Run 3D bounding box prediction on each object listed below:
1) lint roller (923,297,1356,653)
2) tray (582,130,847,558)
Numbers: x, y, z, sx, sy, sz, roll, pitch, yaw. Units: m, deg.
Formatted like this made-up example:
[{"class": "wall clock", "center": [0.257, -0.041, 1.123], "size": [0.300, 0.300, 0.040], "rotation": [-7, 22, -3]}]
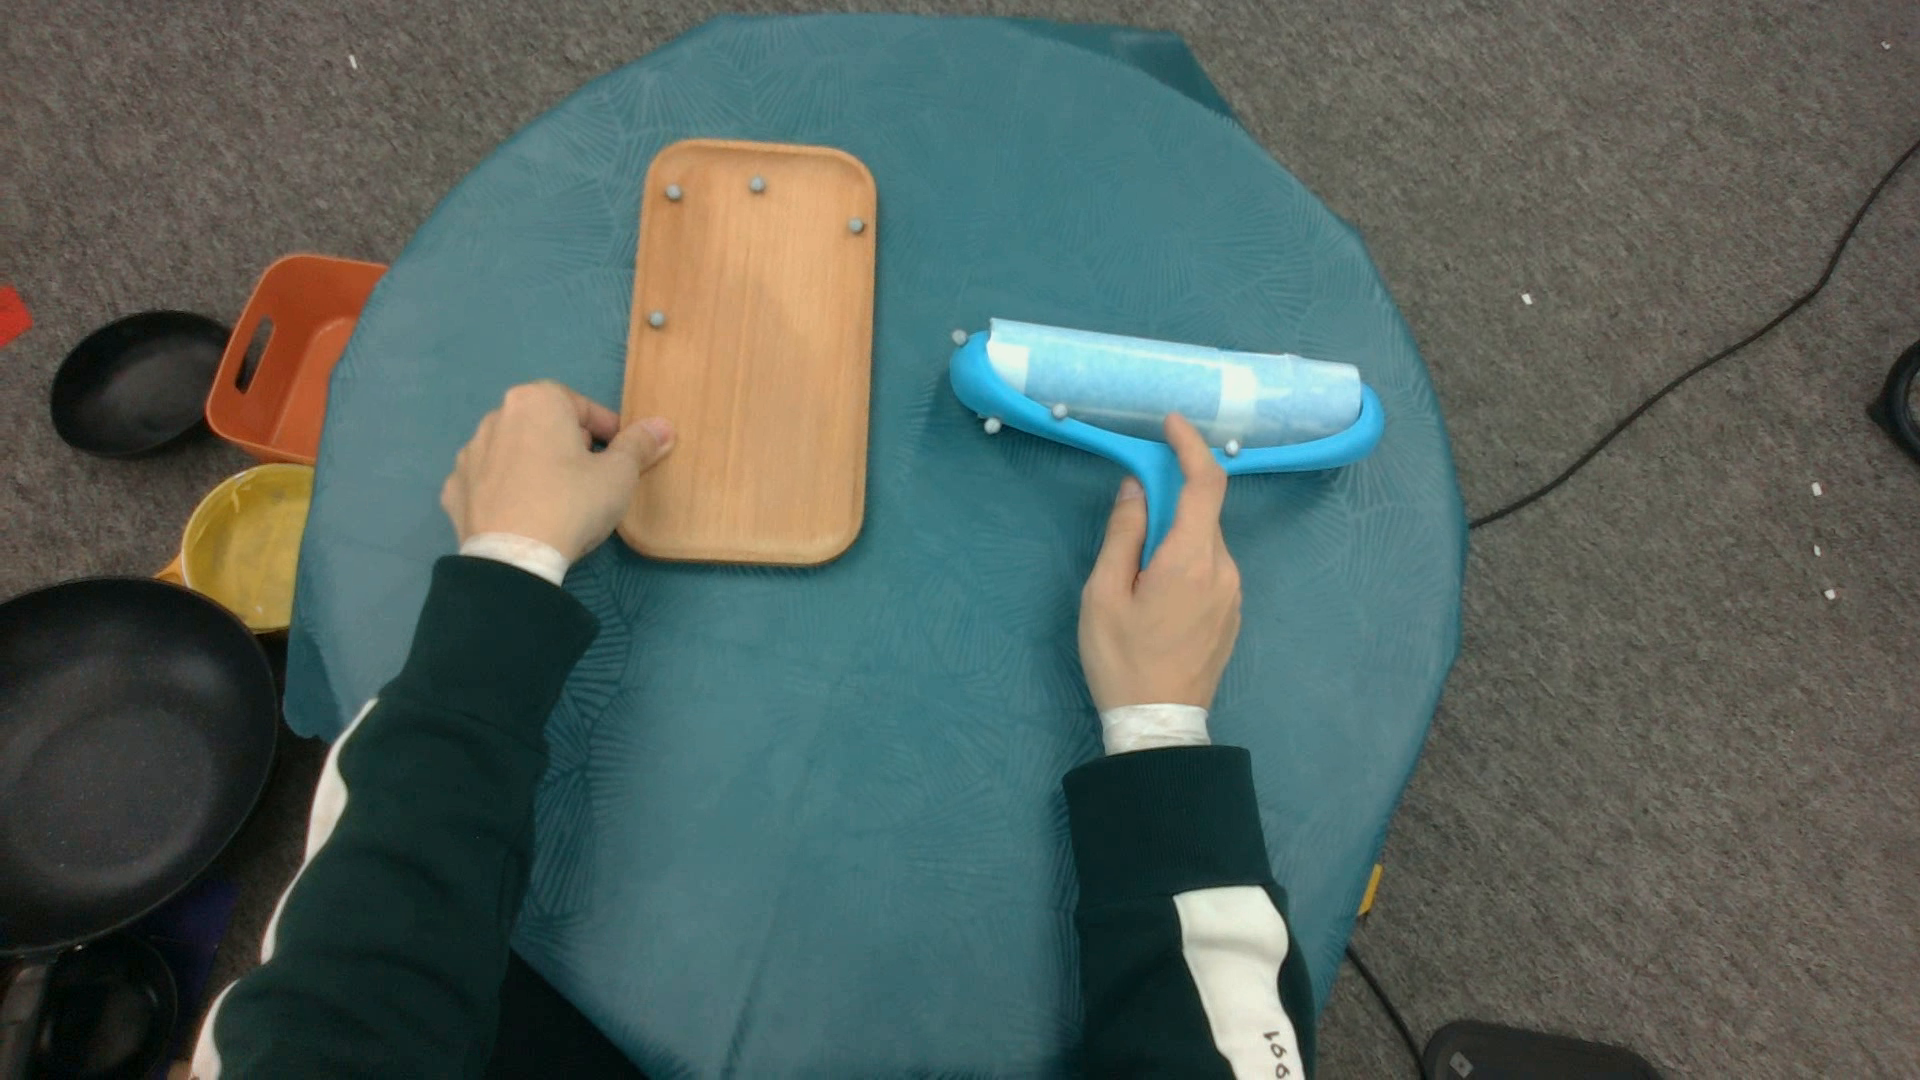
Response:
[{"class": "lint roller", "center": [0.093, -0.037, 0.702], "size": [0.229, 0.067, 0.181], "rotation": [4, 68, -6]}, {"class": "tray", "center": [-0.126, -0.108, 0.730], "size": [0.130, 0.023, 0.251], "rotation": [1, 70, -3]}]
